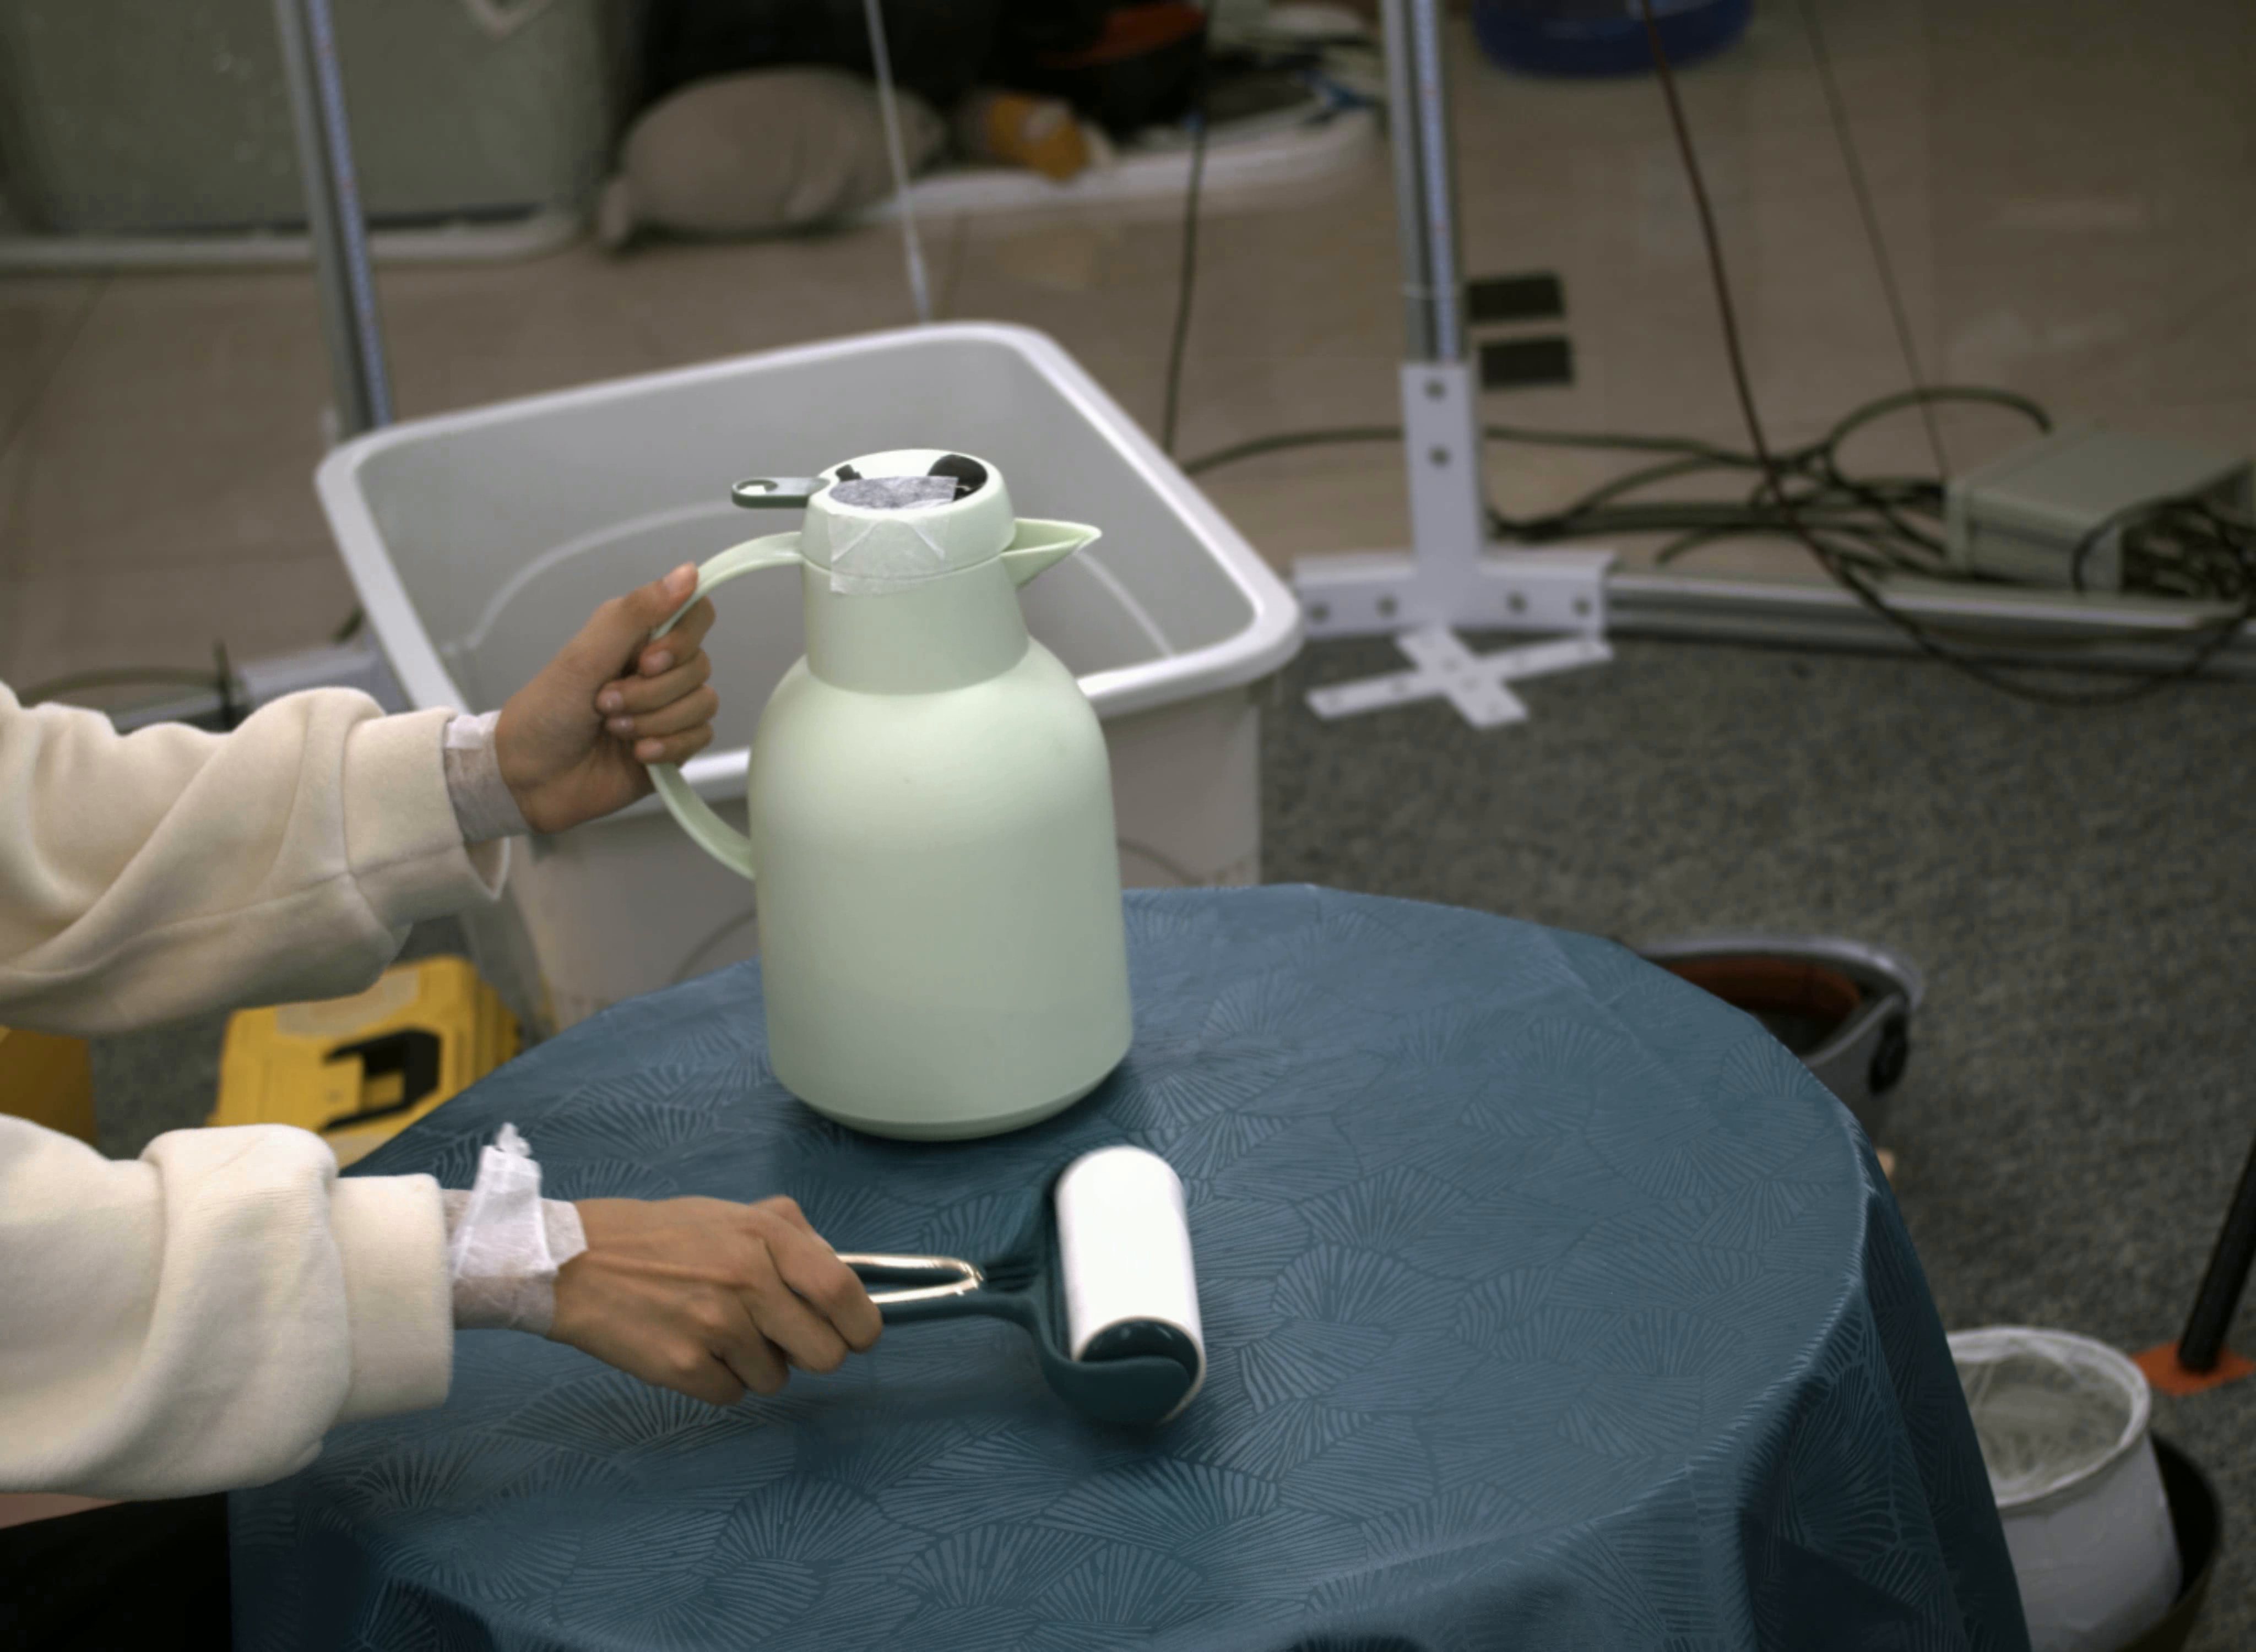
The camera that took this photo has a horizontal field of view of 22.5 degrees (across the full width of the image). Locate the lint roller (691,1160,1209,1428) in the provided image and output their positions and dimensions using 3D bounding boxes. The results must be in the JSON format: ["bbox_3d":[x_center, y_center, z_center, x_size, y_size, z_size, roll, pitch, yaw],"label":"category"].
[{"bbox_3d":[-0.063,0.160,2.010,0.180,0.049,0.132,5,30,-6],"label":"lint roller"}]

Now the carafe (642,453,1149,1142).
[{"bbox_3d":[-0.088,-0.015,2.196,0.186,0.261,0.142,-5,27,7],"label":"carafe"}]
